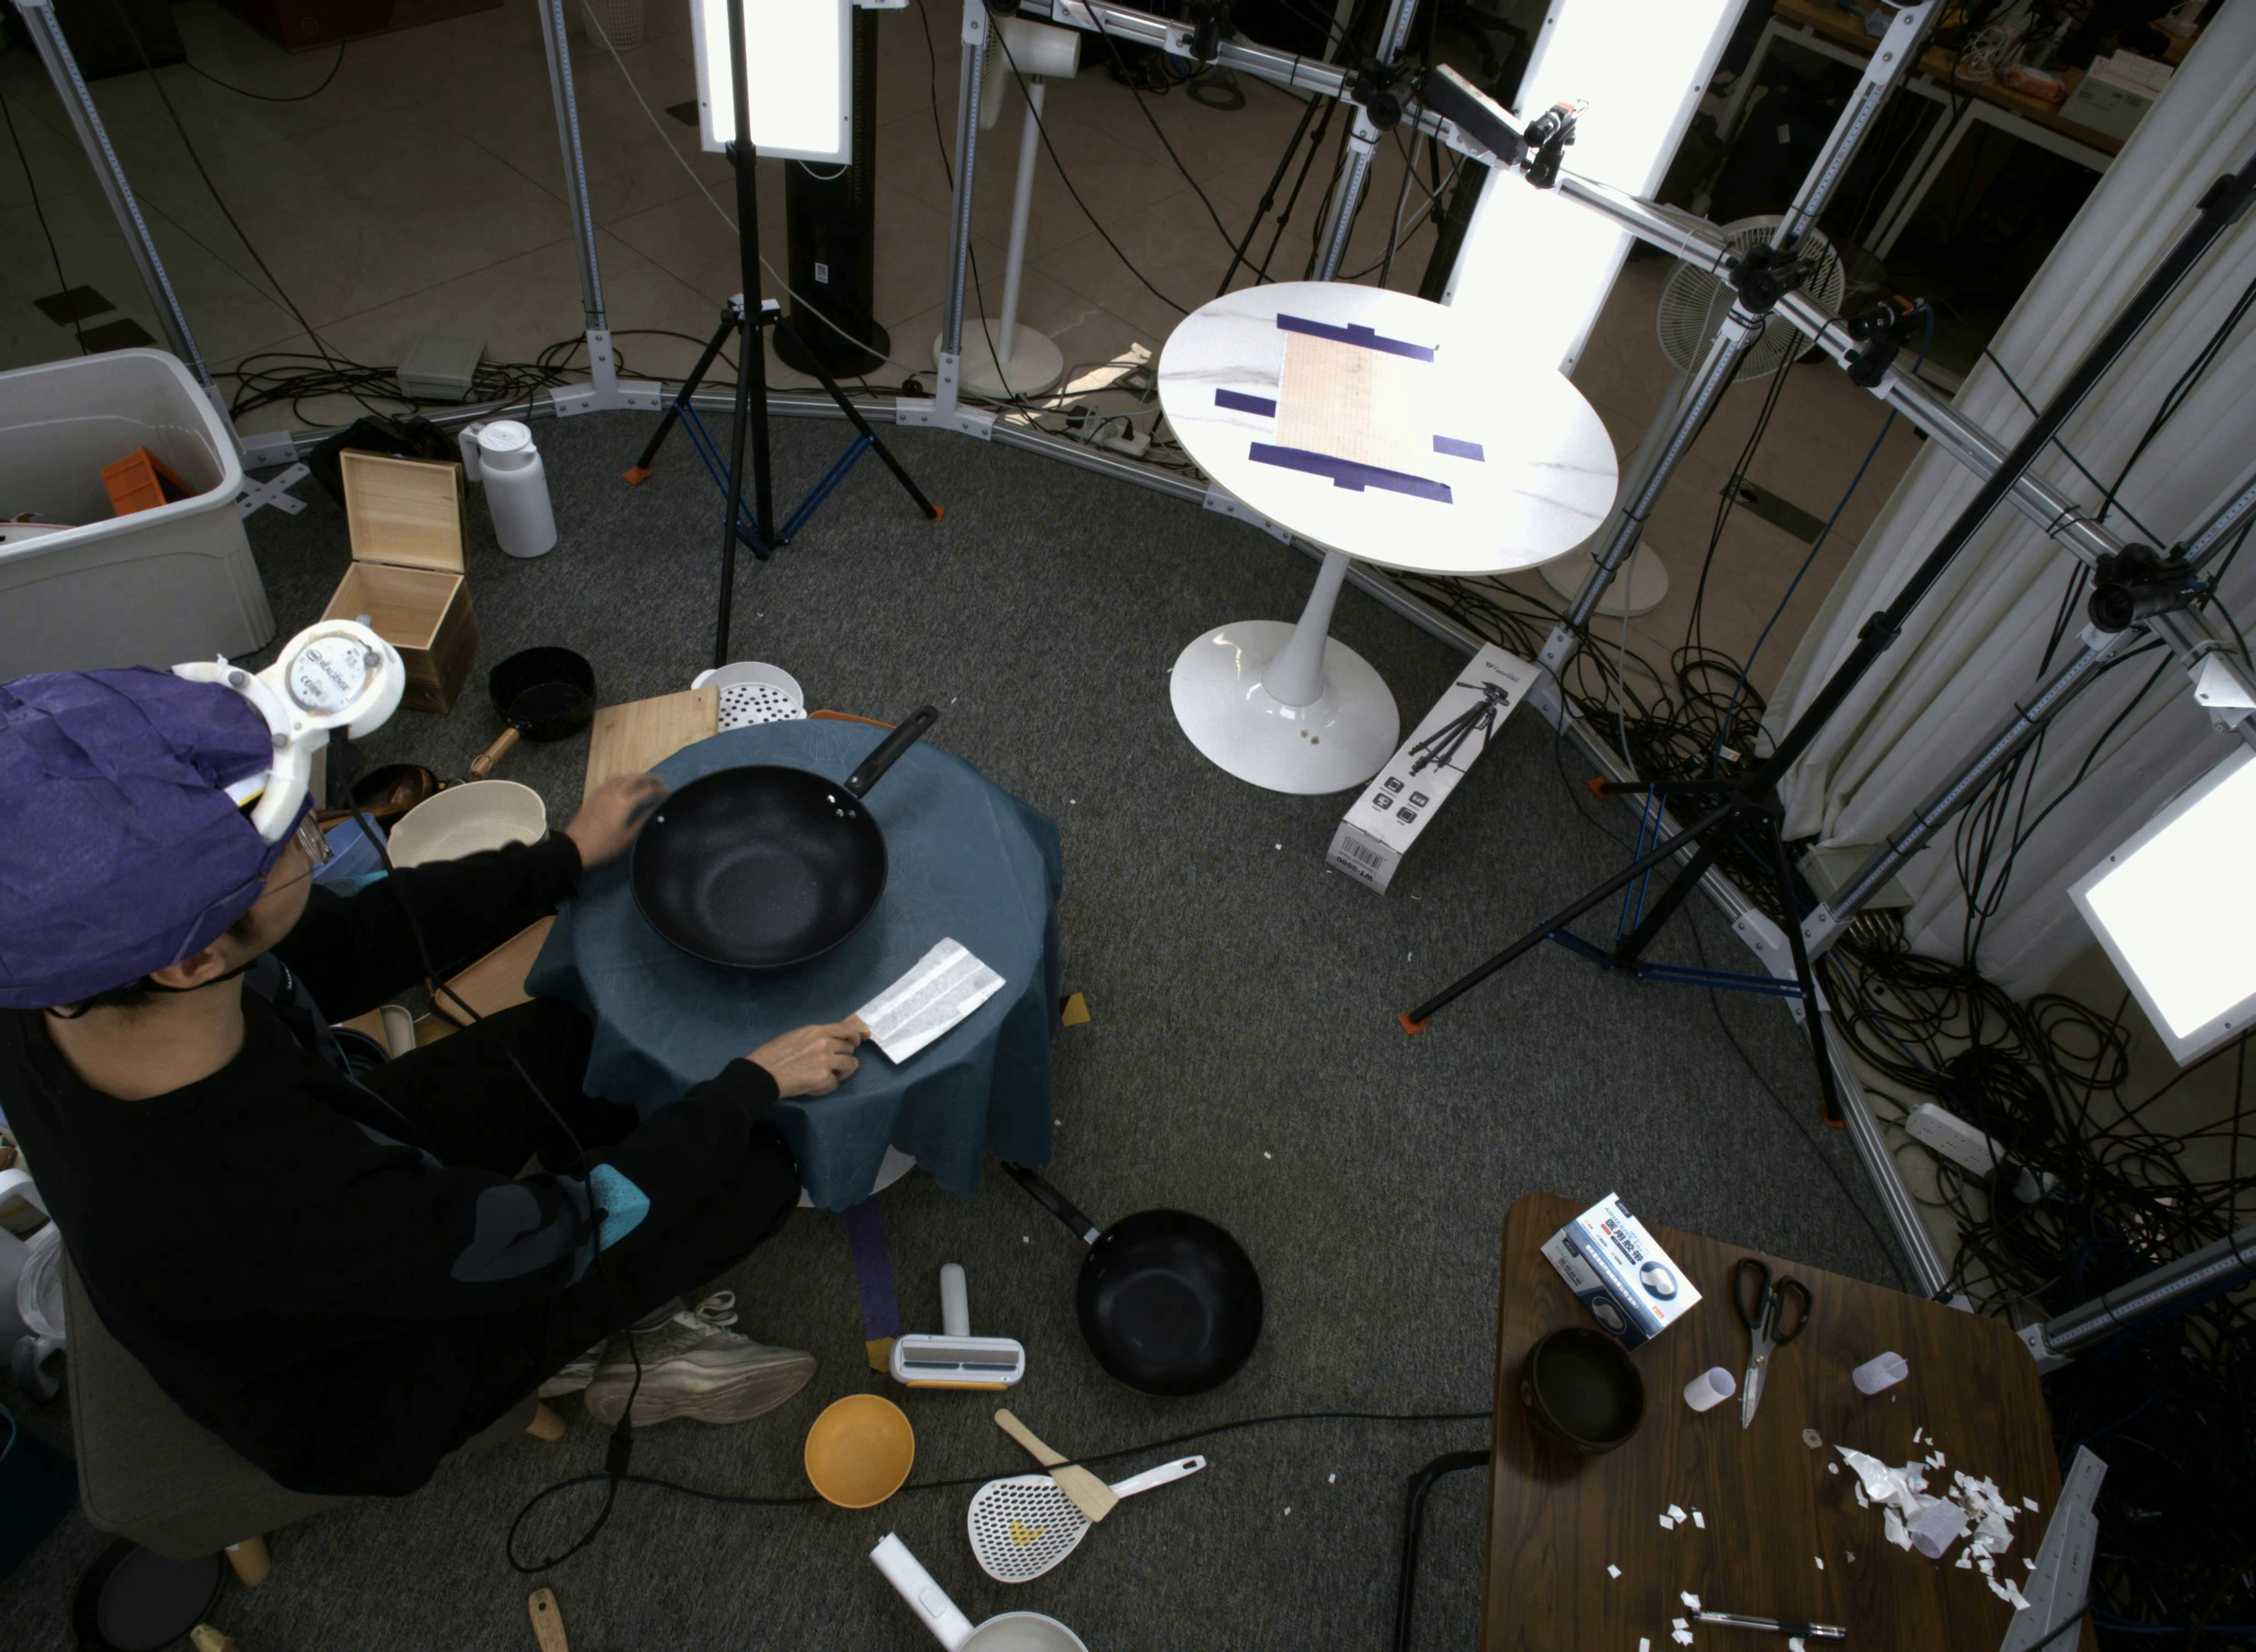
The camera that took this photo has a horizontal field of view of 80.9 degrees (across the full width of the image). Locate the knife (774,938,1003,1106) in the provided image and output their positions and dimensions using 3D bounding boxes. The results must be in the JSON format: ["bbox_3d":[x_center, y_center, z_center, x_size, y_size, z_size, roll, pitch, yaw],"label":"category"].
[{"bbox_3d":[-0.288,0.231,1.554,0.112,0.022,0.317,46,50,15],"label":"knife"}]

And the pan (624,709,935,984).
[{"bbox_3d":[-0.409,0.017,1.637,0.305,0.113,0.476,35,53,11],"label":"pan"}]
